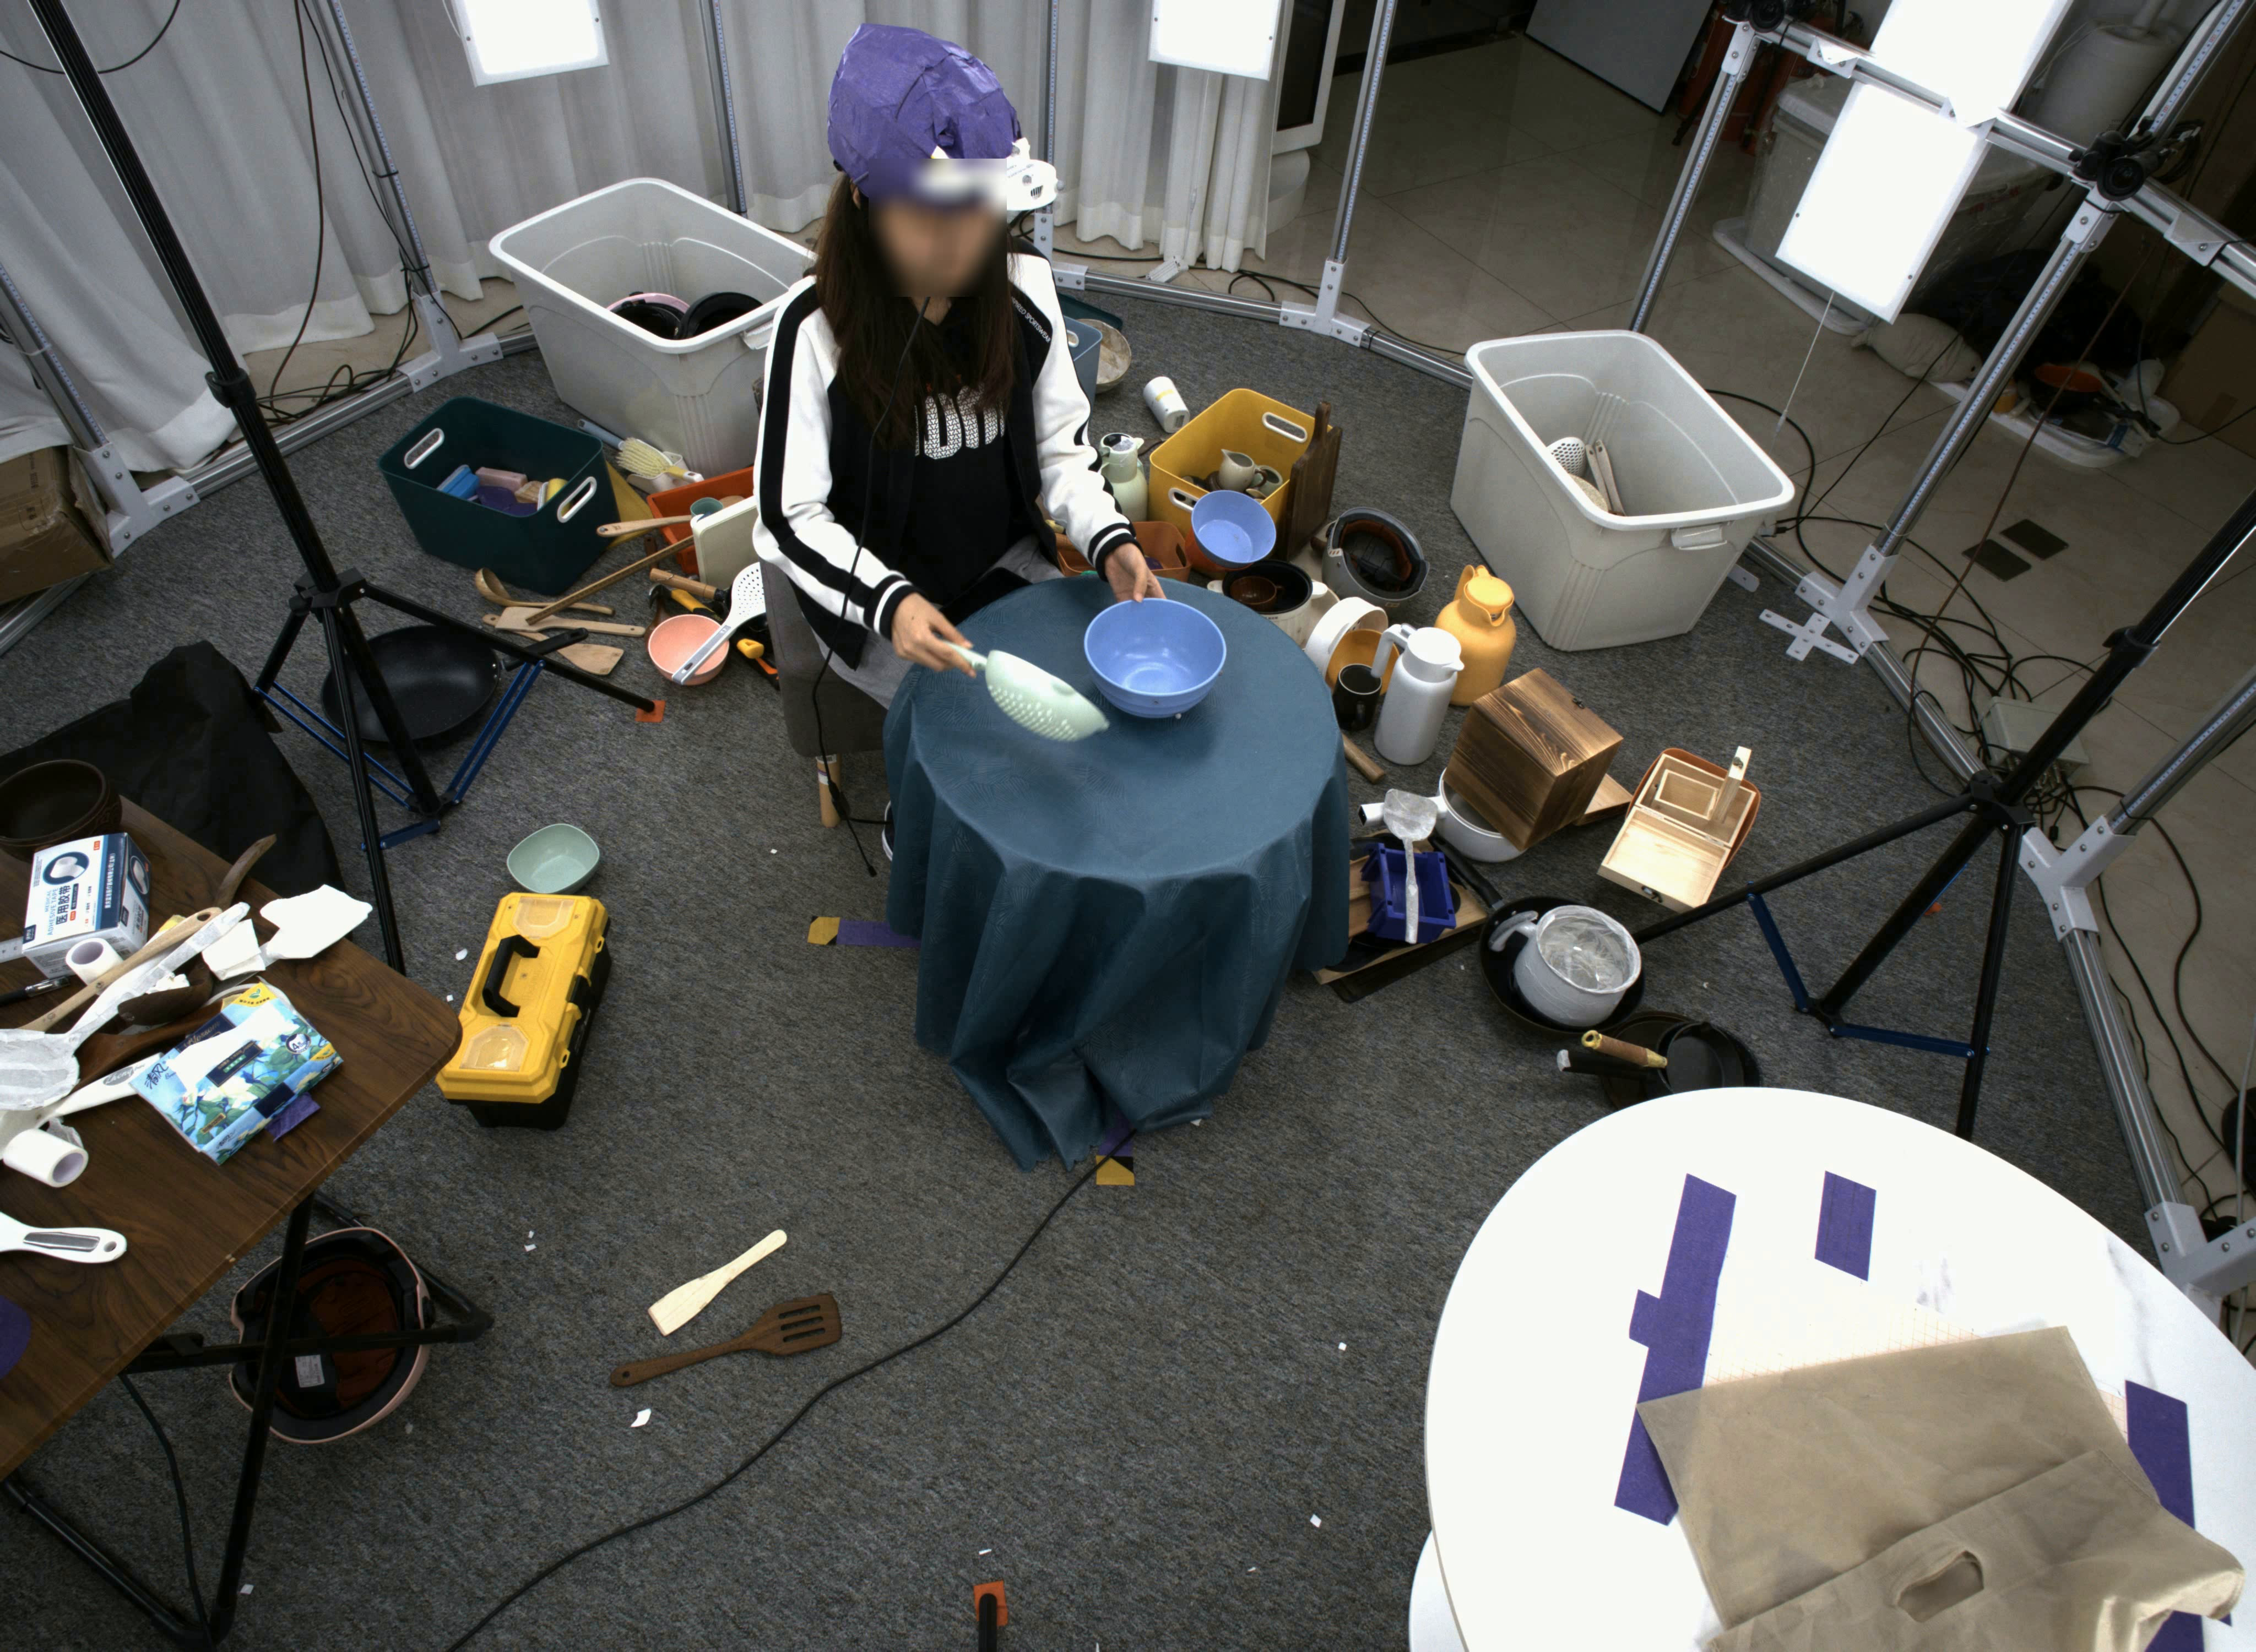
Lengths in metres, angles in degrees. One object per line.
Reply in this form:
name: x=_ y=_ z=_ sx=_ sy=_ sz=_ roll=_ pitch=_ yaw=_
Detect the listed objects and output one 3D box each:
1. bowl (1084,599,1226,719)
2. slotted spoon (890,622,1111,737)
bowl: x=0.035 y=-0.219 z=1.802 sx=0.196 sy=0.093 sz=0.201 roll=2 pitch=49 yaw=-2
slotted spoon: x=-0.180 y=-0.206 z=1.666 sx=0.365 sy=0.166 sz=0.075 roll=37 pitch=90 yaw=33
